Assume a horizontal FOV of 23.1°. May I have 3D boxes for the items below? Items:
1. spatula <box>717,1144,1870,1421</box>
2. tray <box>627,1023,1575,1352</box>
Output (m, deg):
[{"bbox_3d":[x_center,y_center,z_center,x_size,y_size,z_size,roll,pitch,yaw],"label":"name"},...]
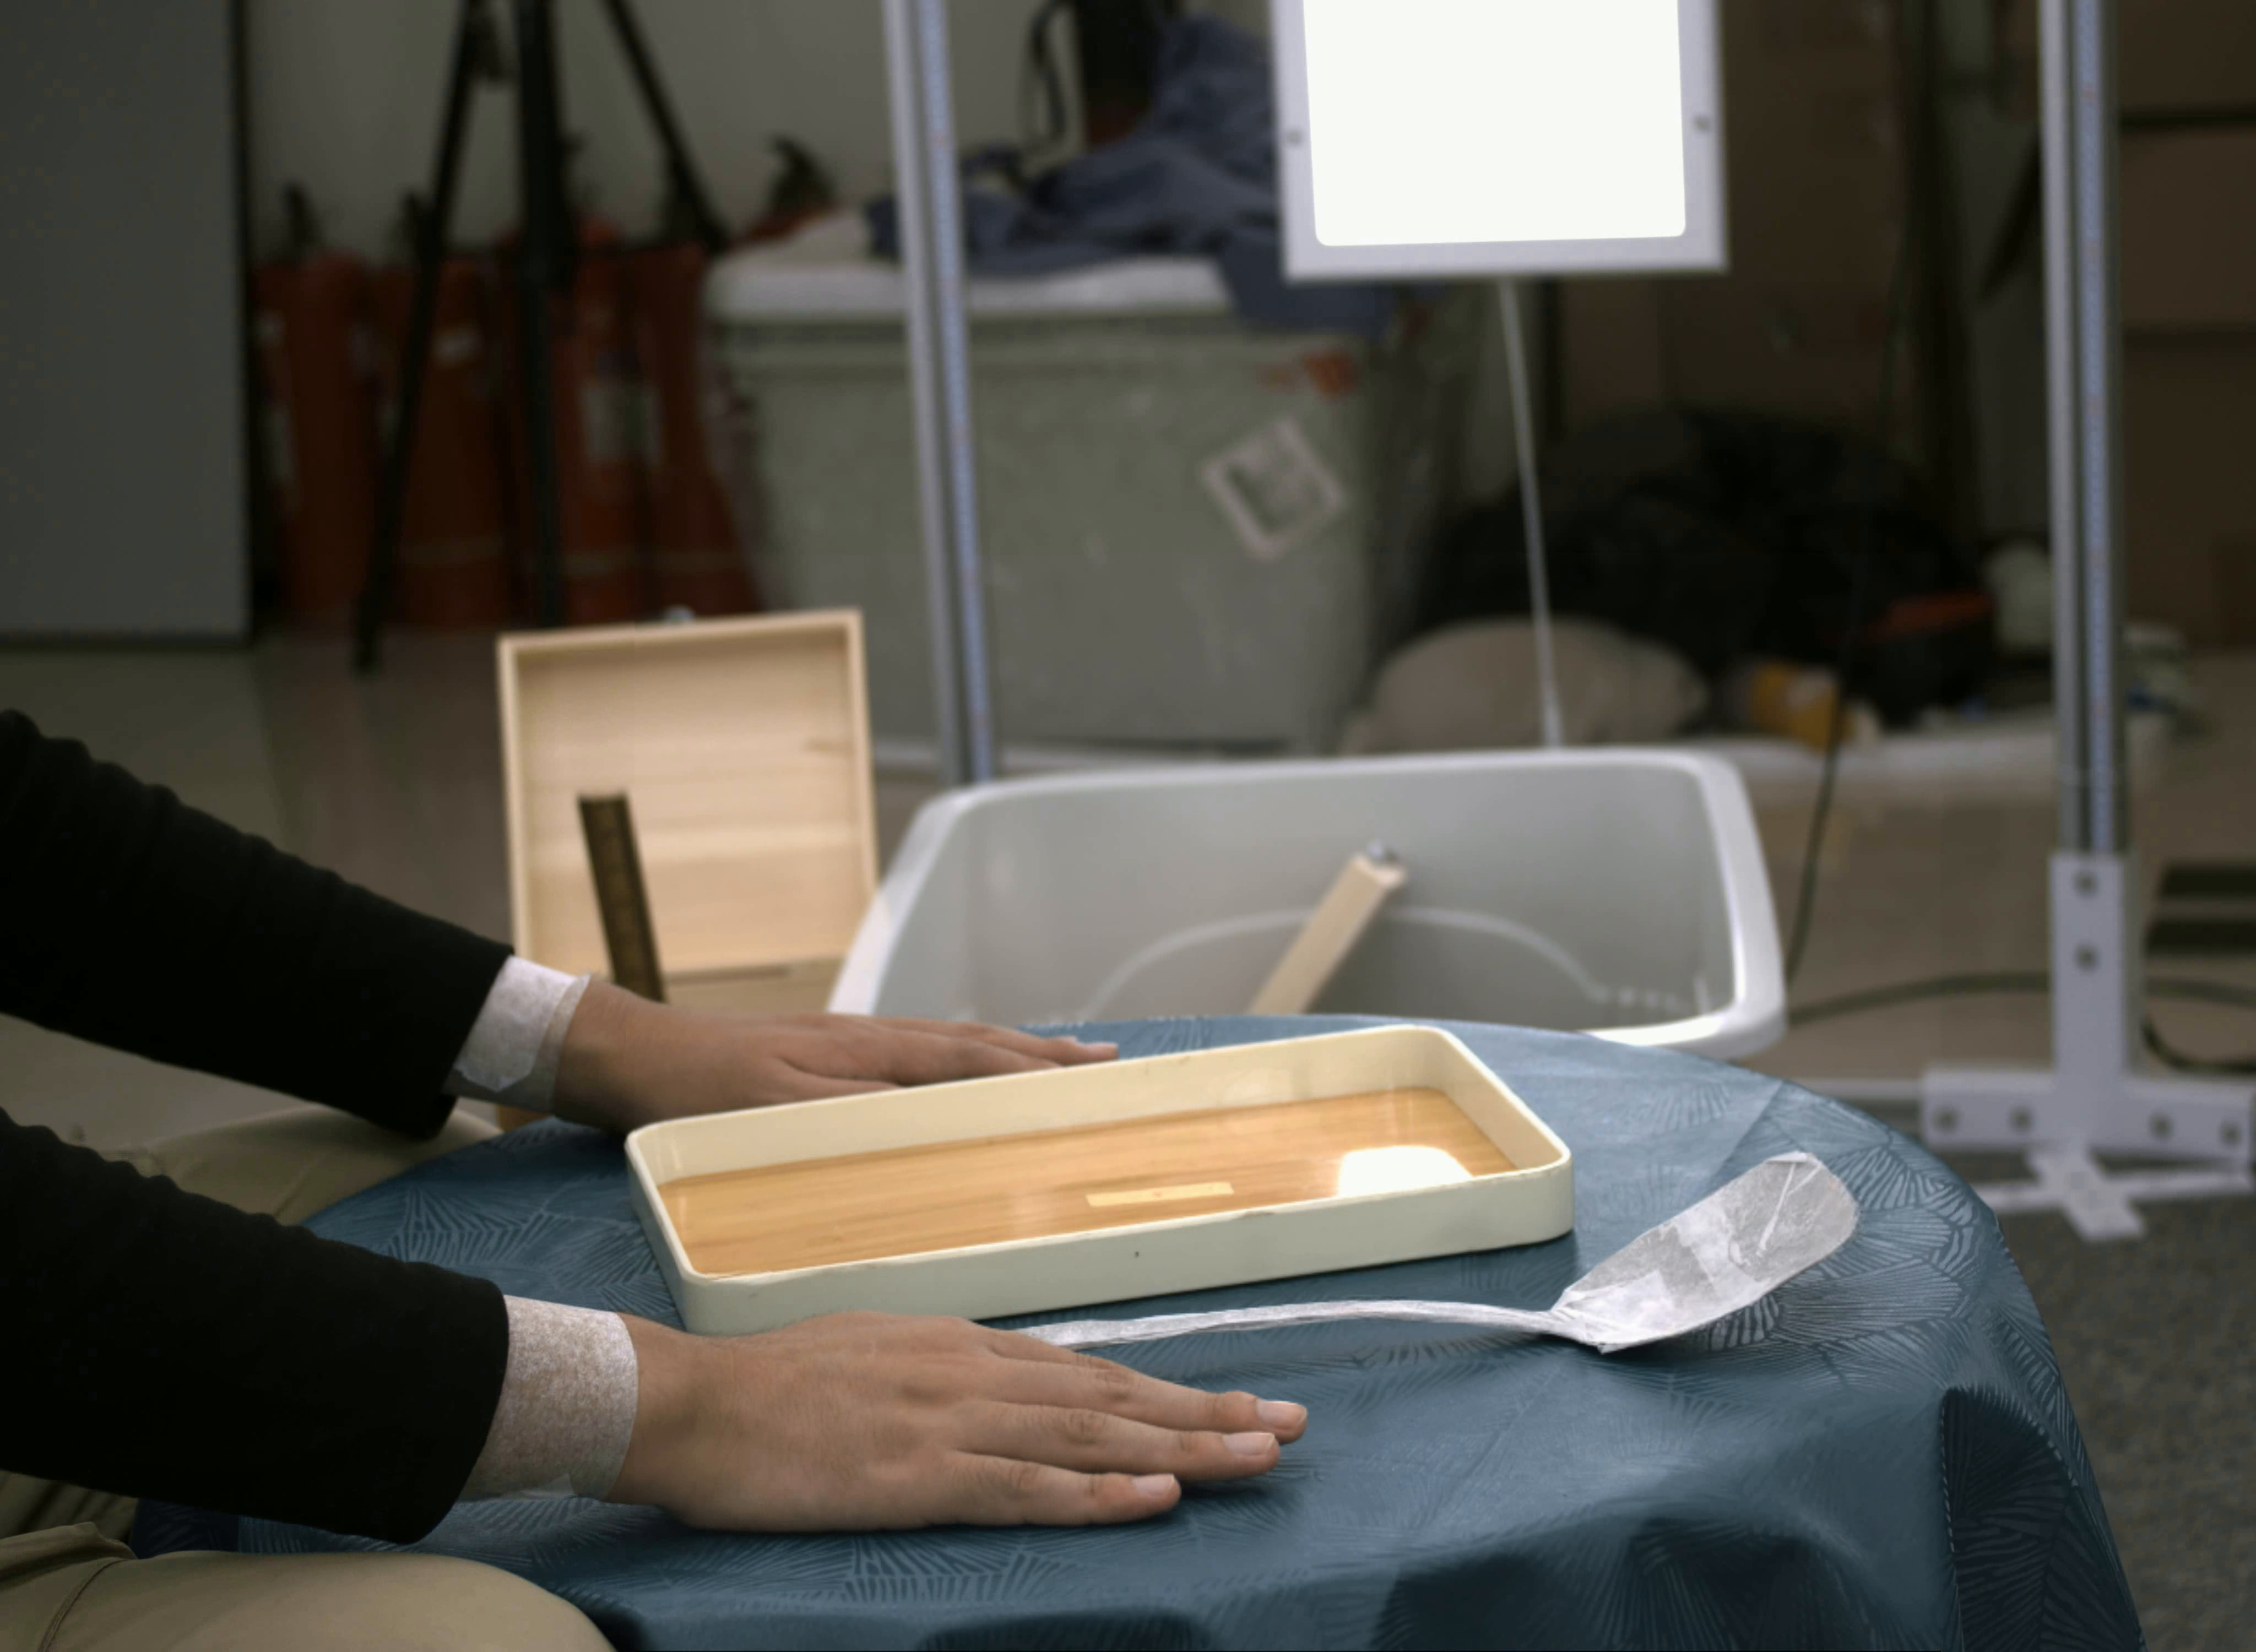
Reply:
[{"bbox_3d":[0.051,0.148,1.711,0.363,0.045,0.099,-6,14,-2],"label":"spatula"},{"bbox_3d":[-0.013,0.120,1.871,0.297,0.027,0.192,-7,14,-8],"label":"tray"}]
